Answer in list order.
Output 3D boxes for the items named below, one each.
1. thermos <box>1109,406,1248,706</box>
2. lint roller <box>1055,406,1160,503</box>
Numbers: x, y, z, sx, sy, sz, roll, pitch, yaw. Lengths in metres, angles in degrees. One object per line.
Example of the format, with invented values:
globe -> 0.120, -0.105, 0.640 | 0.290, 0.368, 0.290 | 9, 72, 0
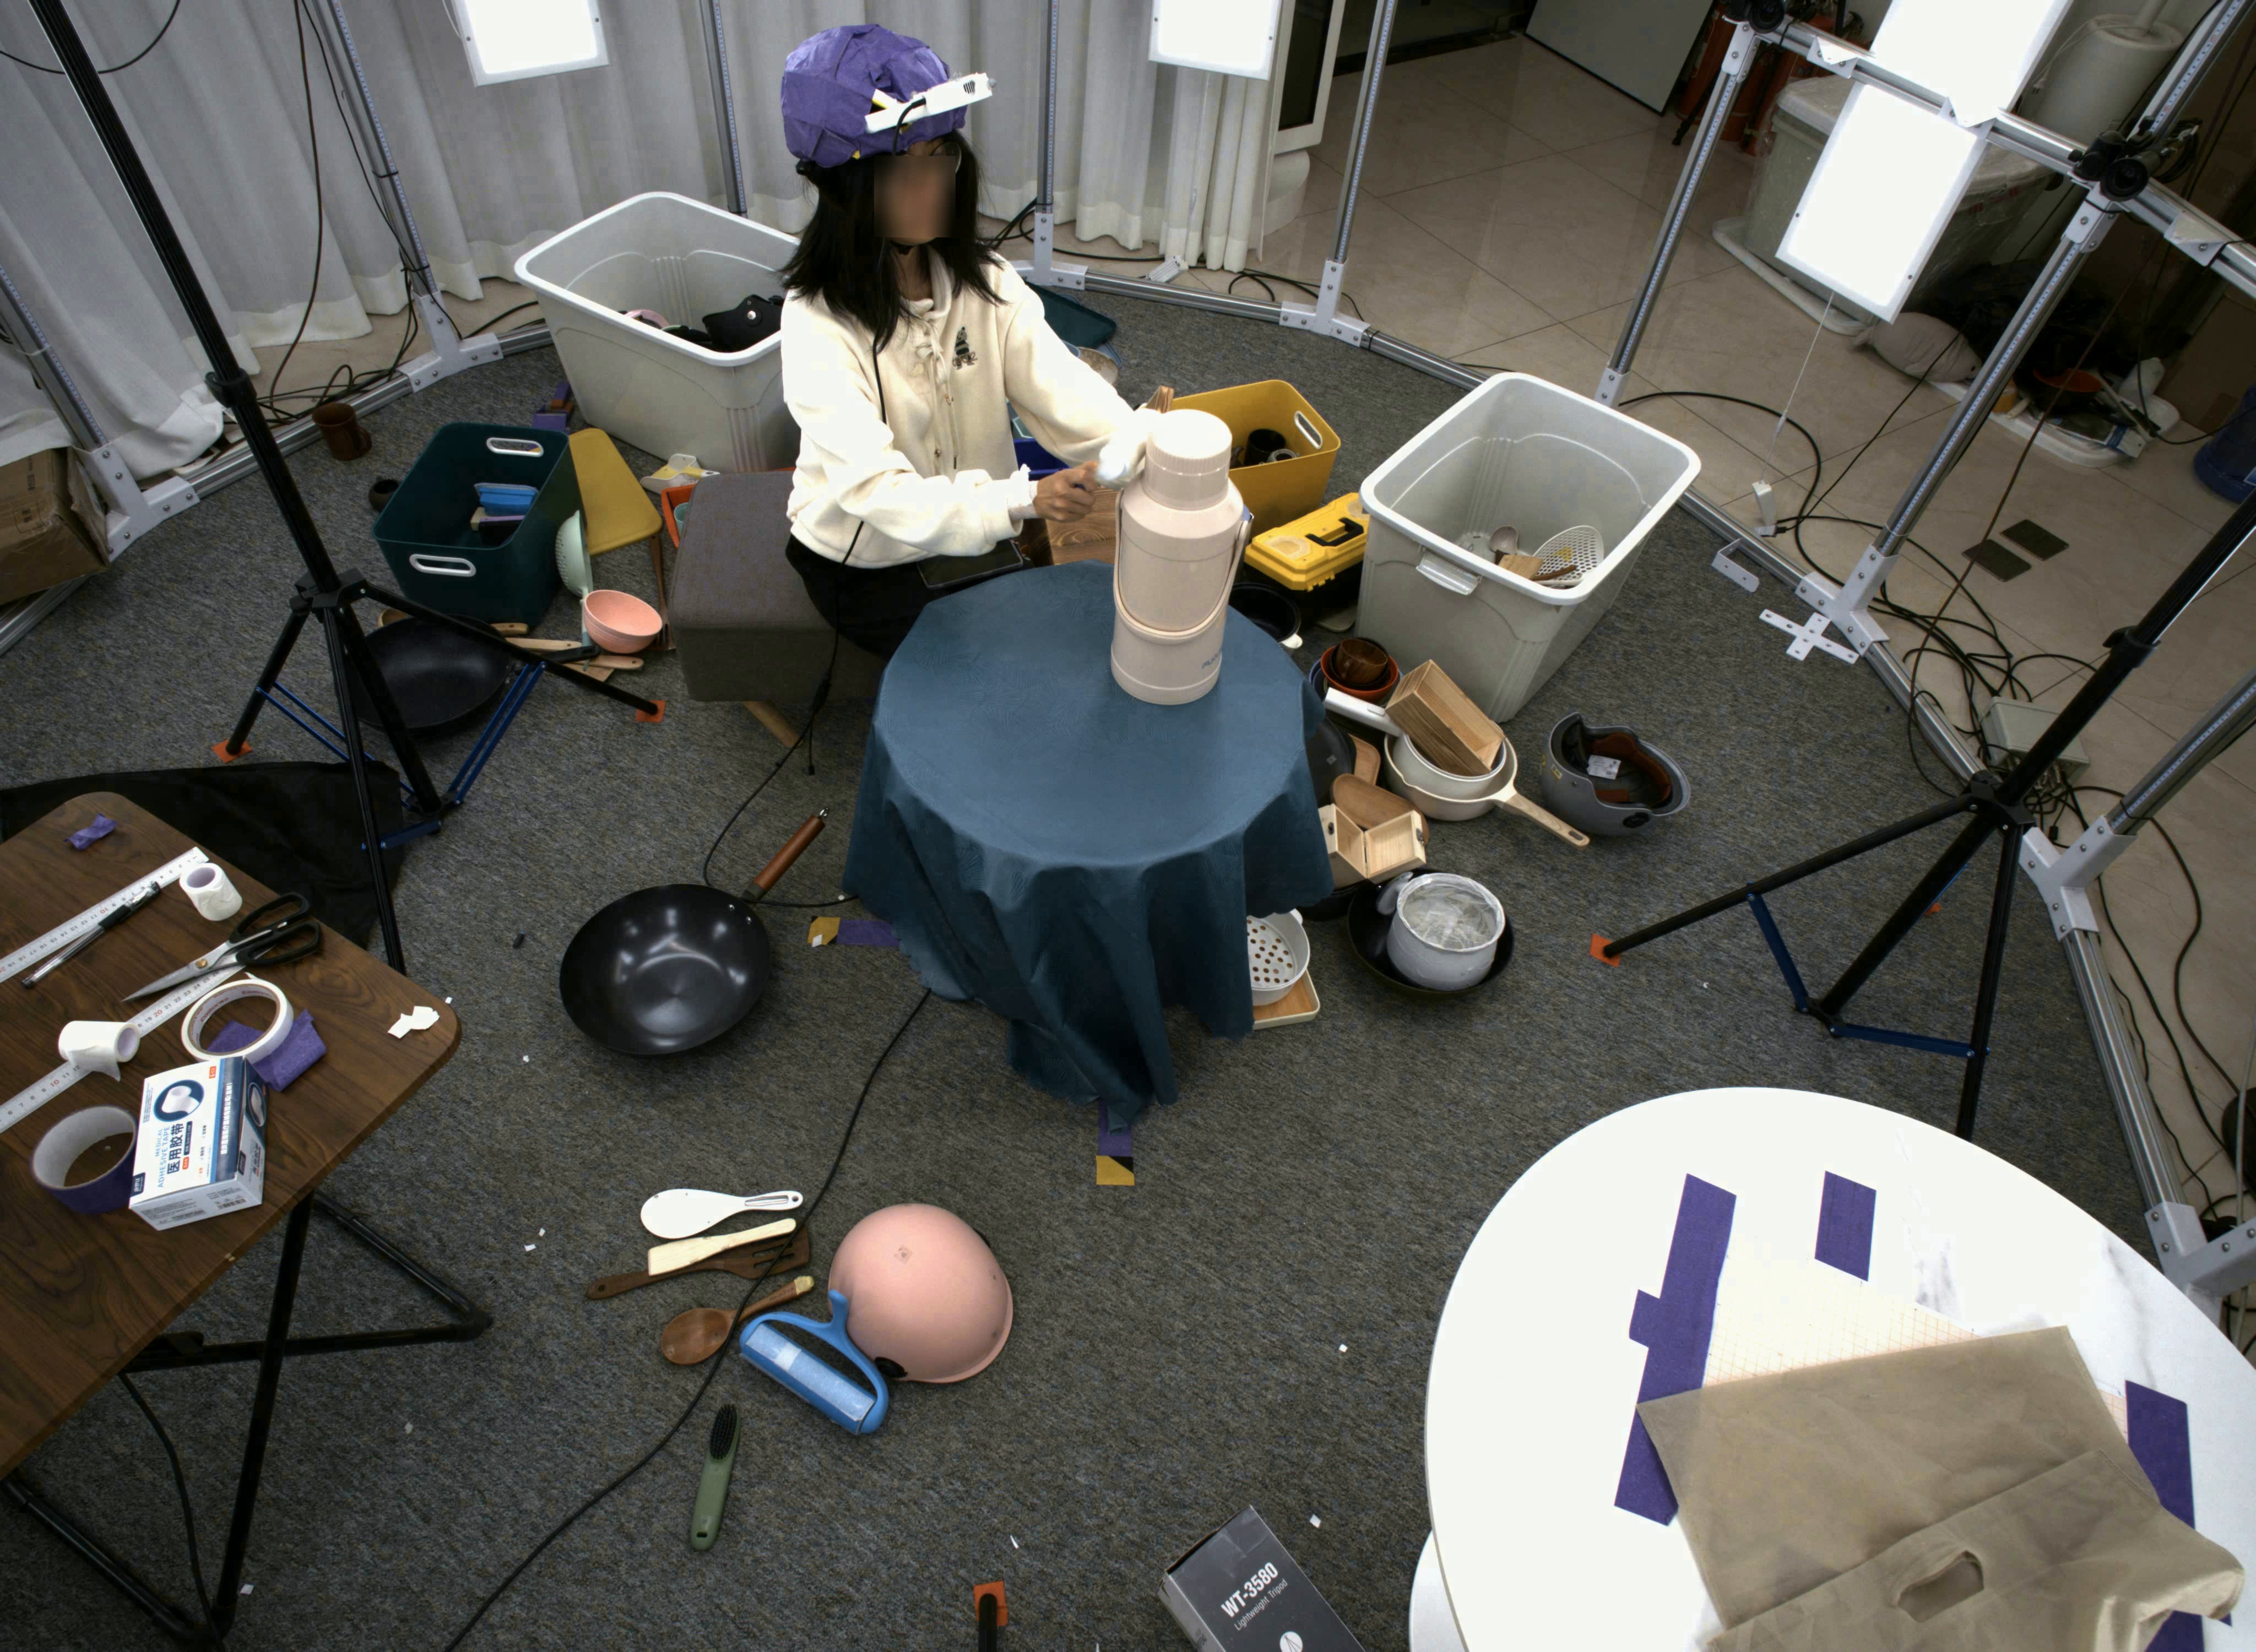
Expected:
thermos -> 0.070, -0.366, 1.737 | 0.176, 0.396, 0.211 | 17, 50, 10
lint roller -> -0.042, -0.476, 1.685 | 0.180, 0.049, 0.135 | -15, 34, 44
